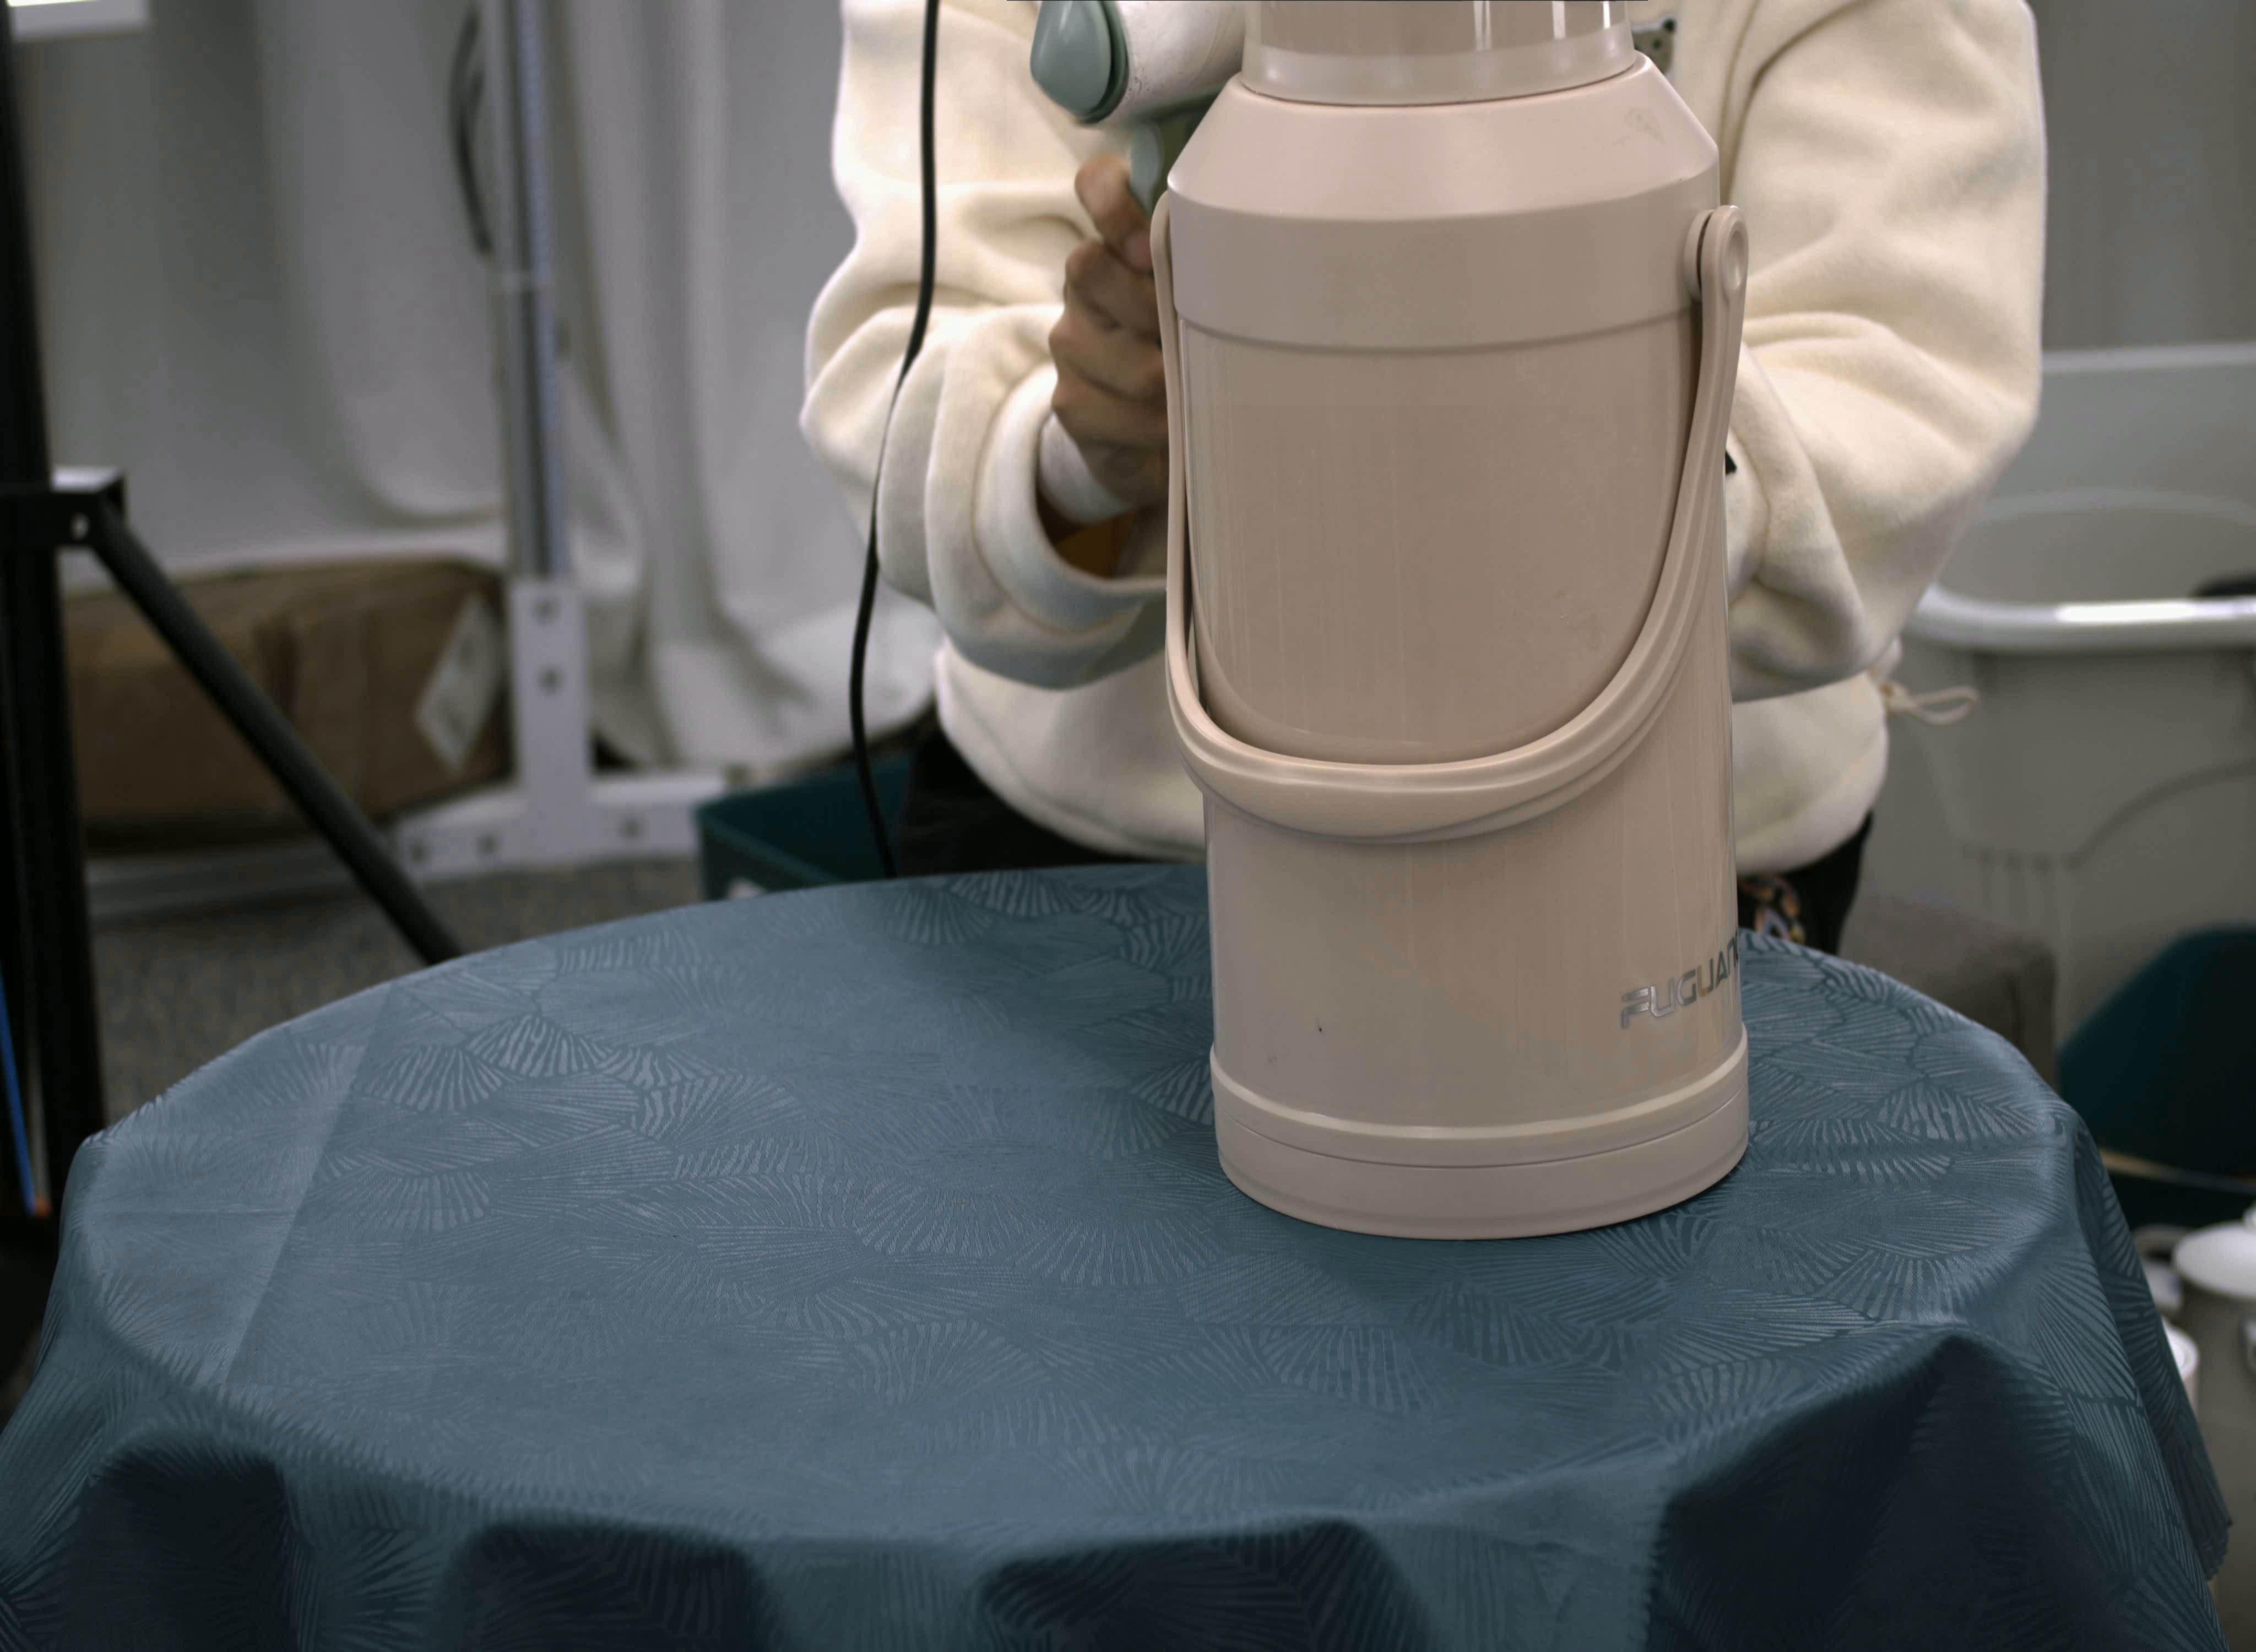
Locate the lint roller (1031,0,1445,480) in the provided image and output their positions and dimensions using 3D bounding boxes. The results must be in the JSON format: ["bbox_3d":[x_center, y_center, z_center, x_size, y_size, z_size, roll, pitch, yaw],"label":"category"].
[{"bbox_3d":[0.012,-0.187,1.611,0.114,0.199,0.049,-13,56,-41],"label":"lint roller"}]

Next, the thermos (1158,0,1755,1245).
[{"bbox_3d":[0.102,-0.098,1.533,0.178,0.406,0.204,5,18,27],"label":"thermos"}]
